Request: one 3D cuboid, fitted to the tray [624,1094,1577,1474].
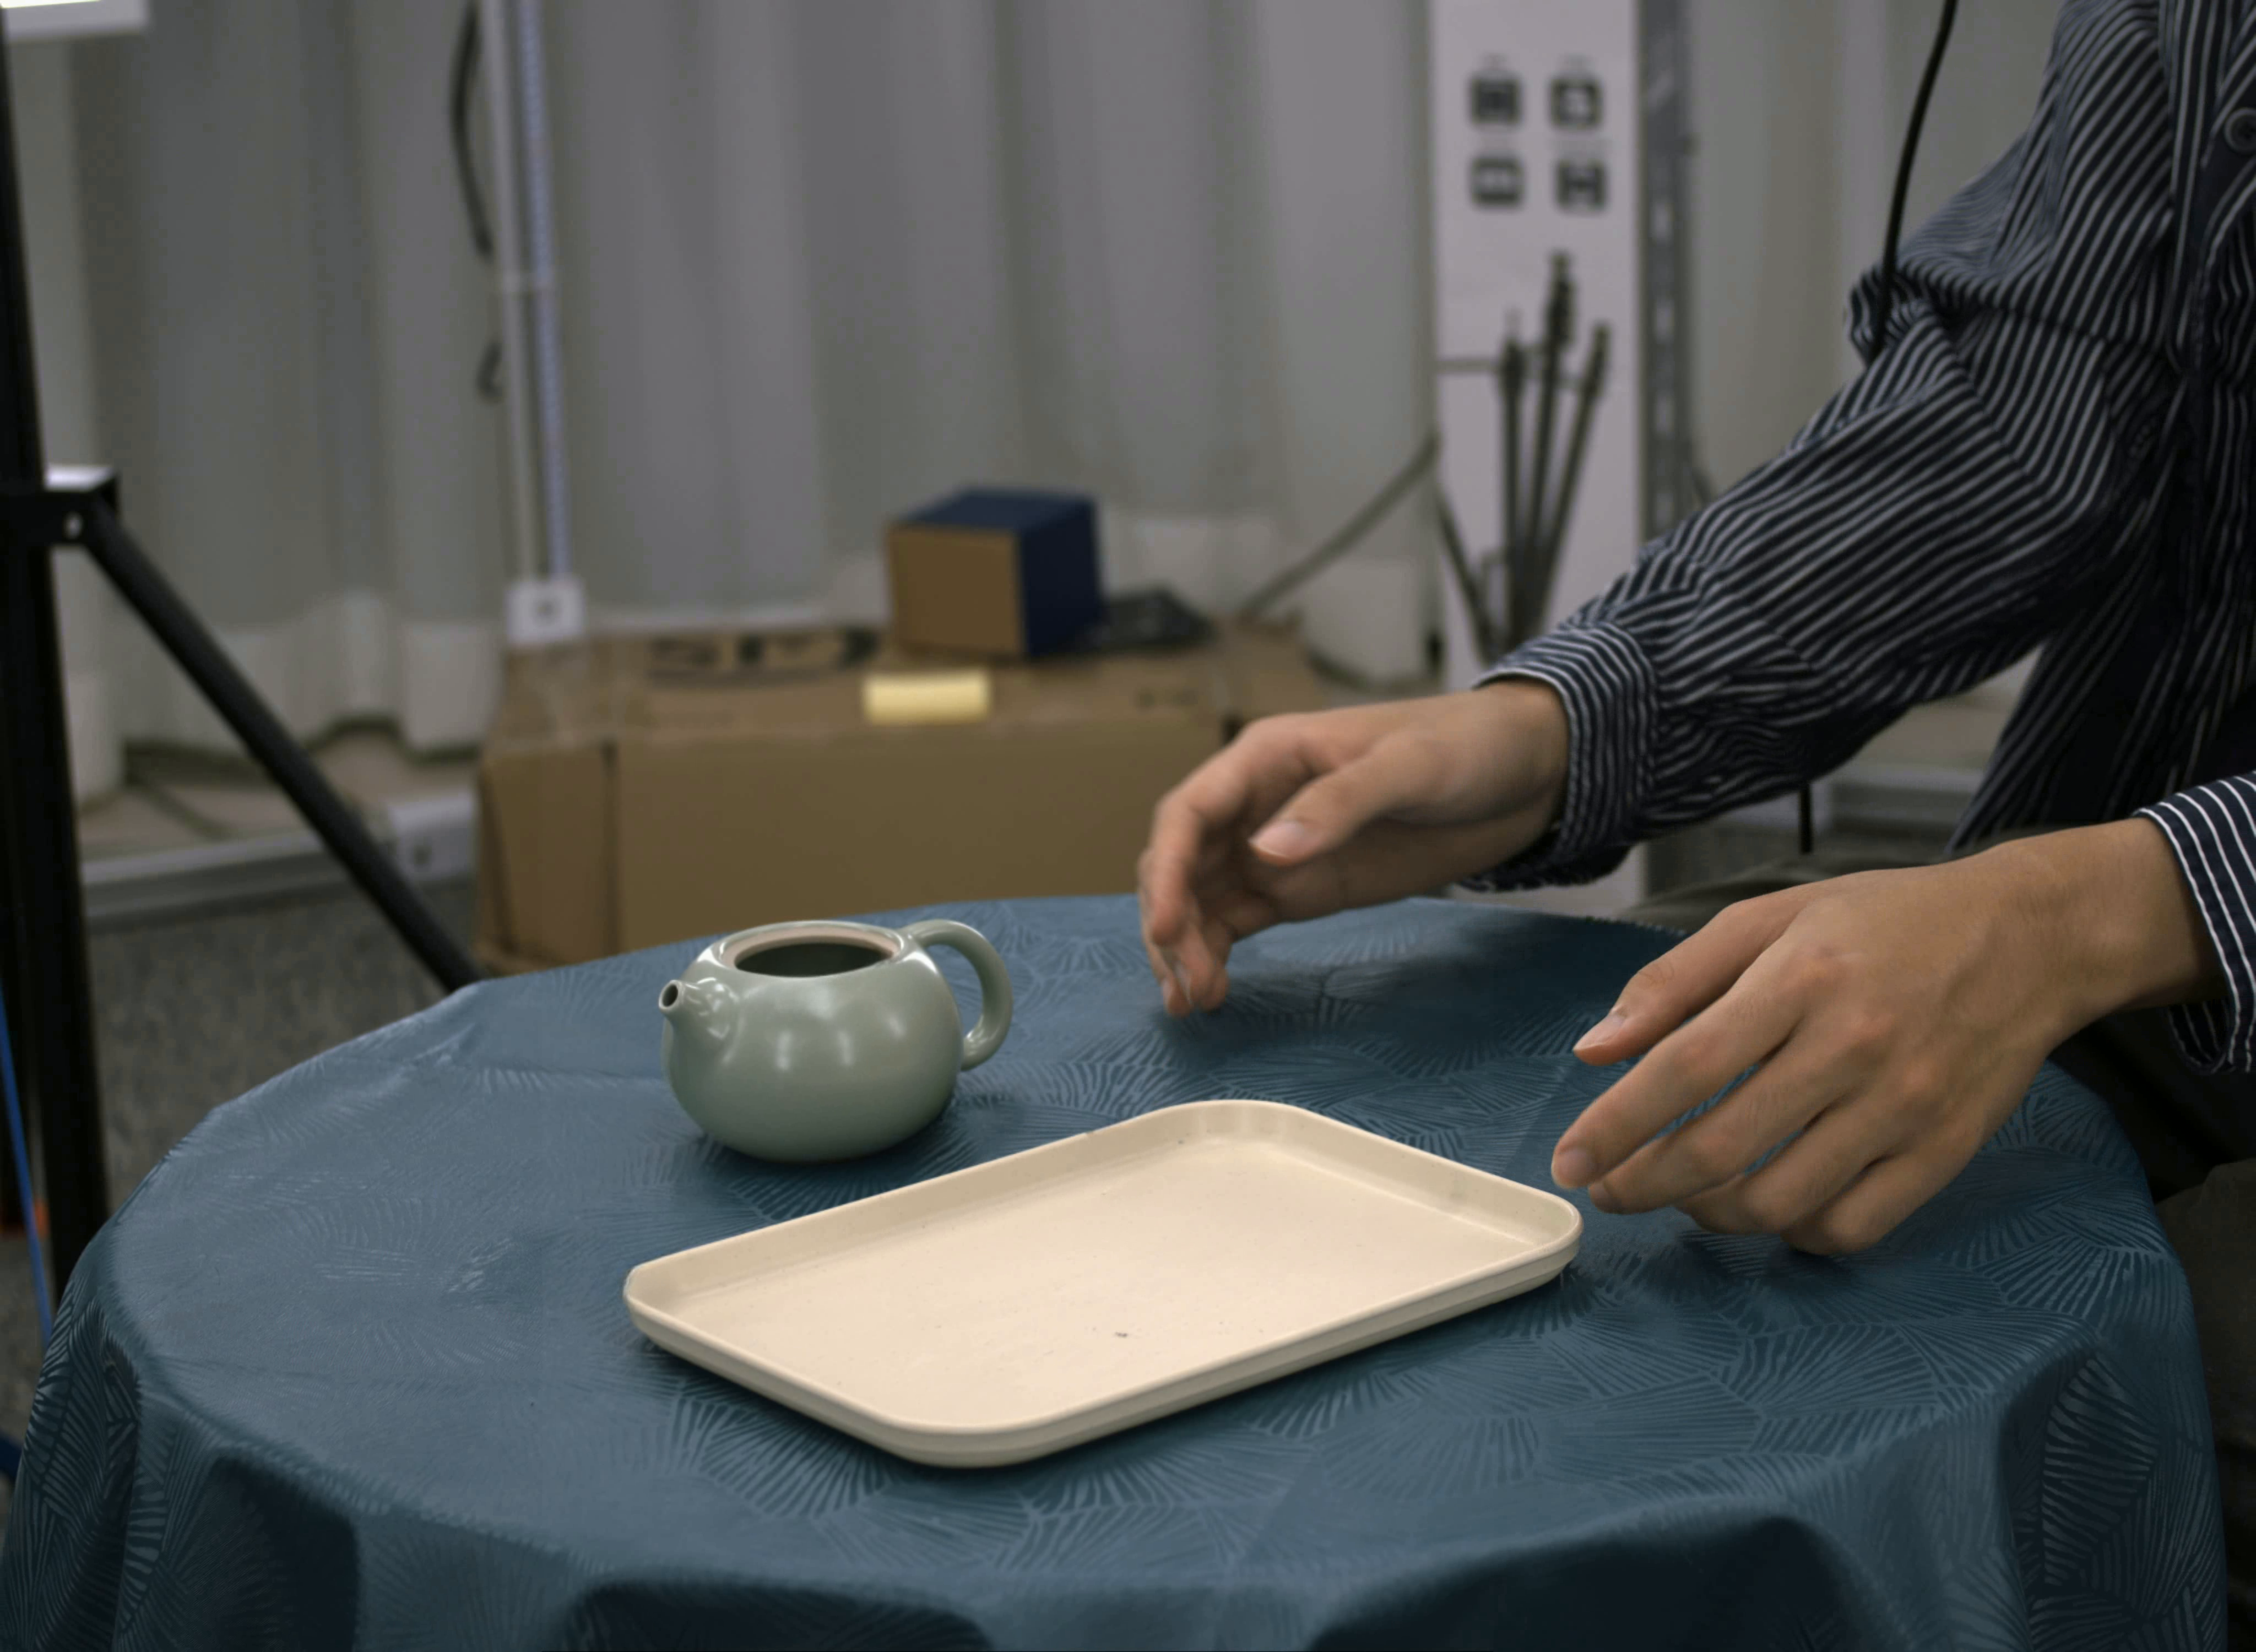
[{"bbox_3d":[-0.006,0.125,1.471,0.234,0.017,0.175,-14,20,-36],"label":"tray"}]

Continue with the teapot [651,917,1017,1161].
[{"bbox_3d":[-0.088,0.064,1.625,0.125,0.061,0.093,-12,16,-31],"label":"teapot"}]
